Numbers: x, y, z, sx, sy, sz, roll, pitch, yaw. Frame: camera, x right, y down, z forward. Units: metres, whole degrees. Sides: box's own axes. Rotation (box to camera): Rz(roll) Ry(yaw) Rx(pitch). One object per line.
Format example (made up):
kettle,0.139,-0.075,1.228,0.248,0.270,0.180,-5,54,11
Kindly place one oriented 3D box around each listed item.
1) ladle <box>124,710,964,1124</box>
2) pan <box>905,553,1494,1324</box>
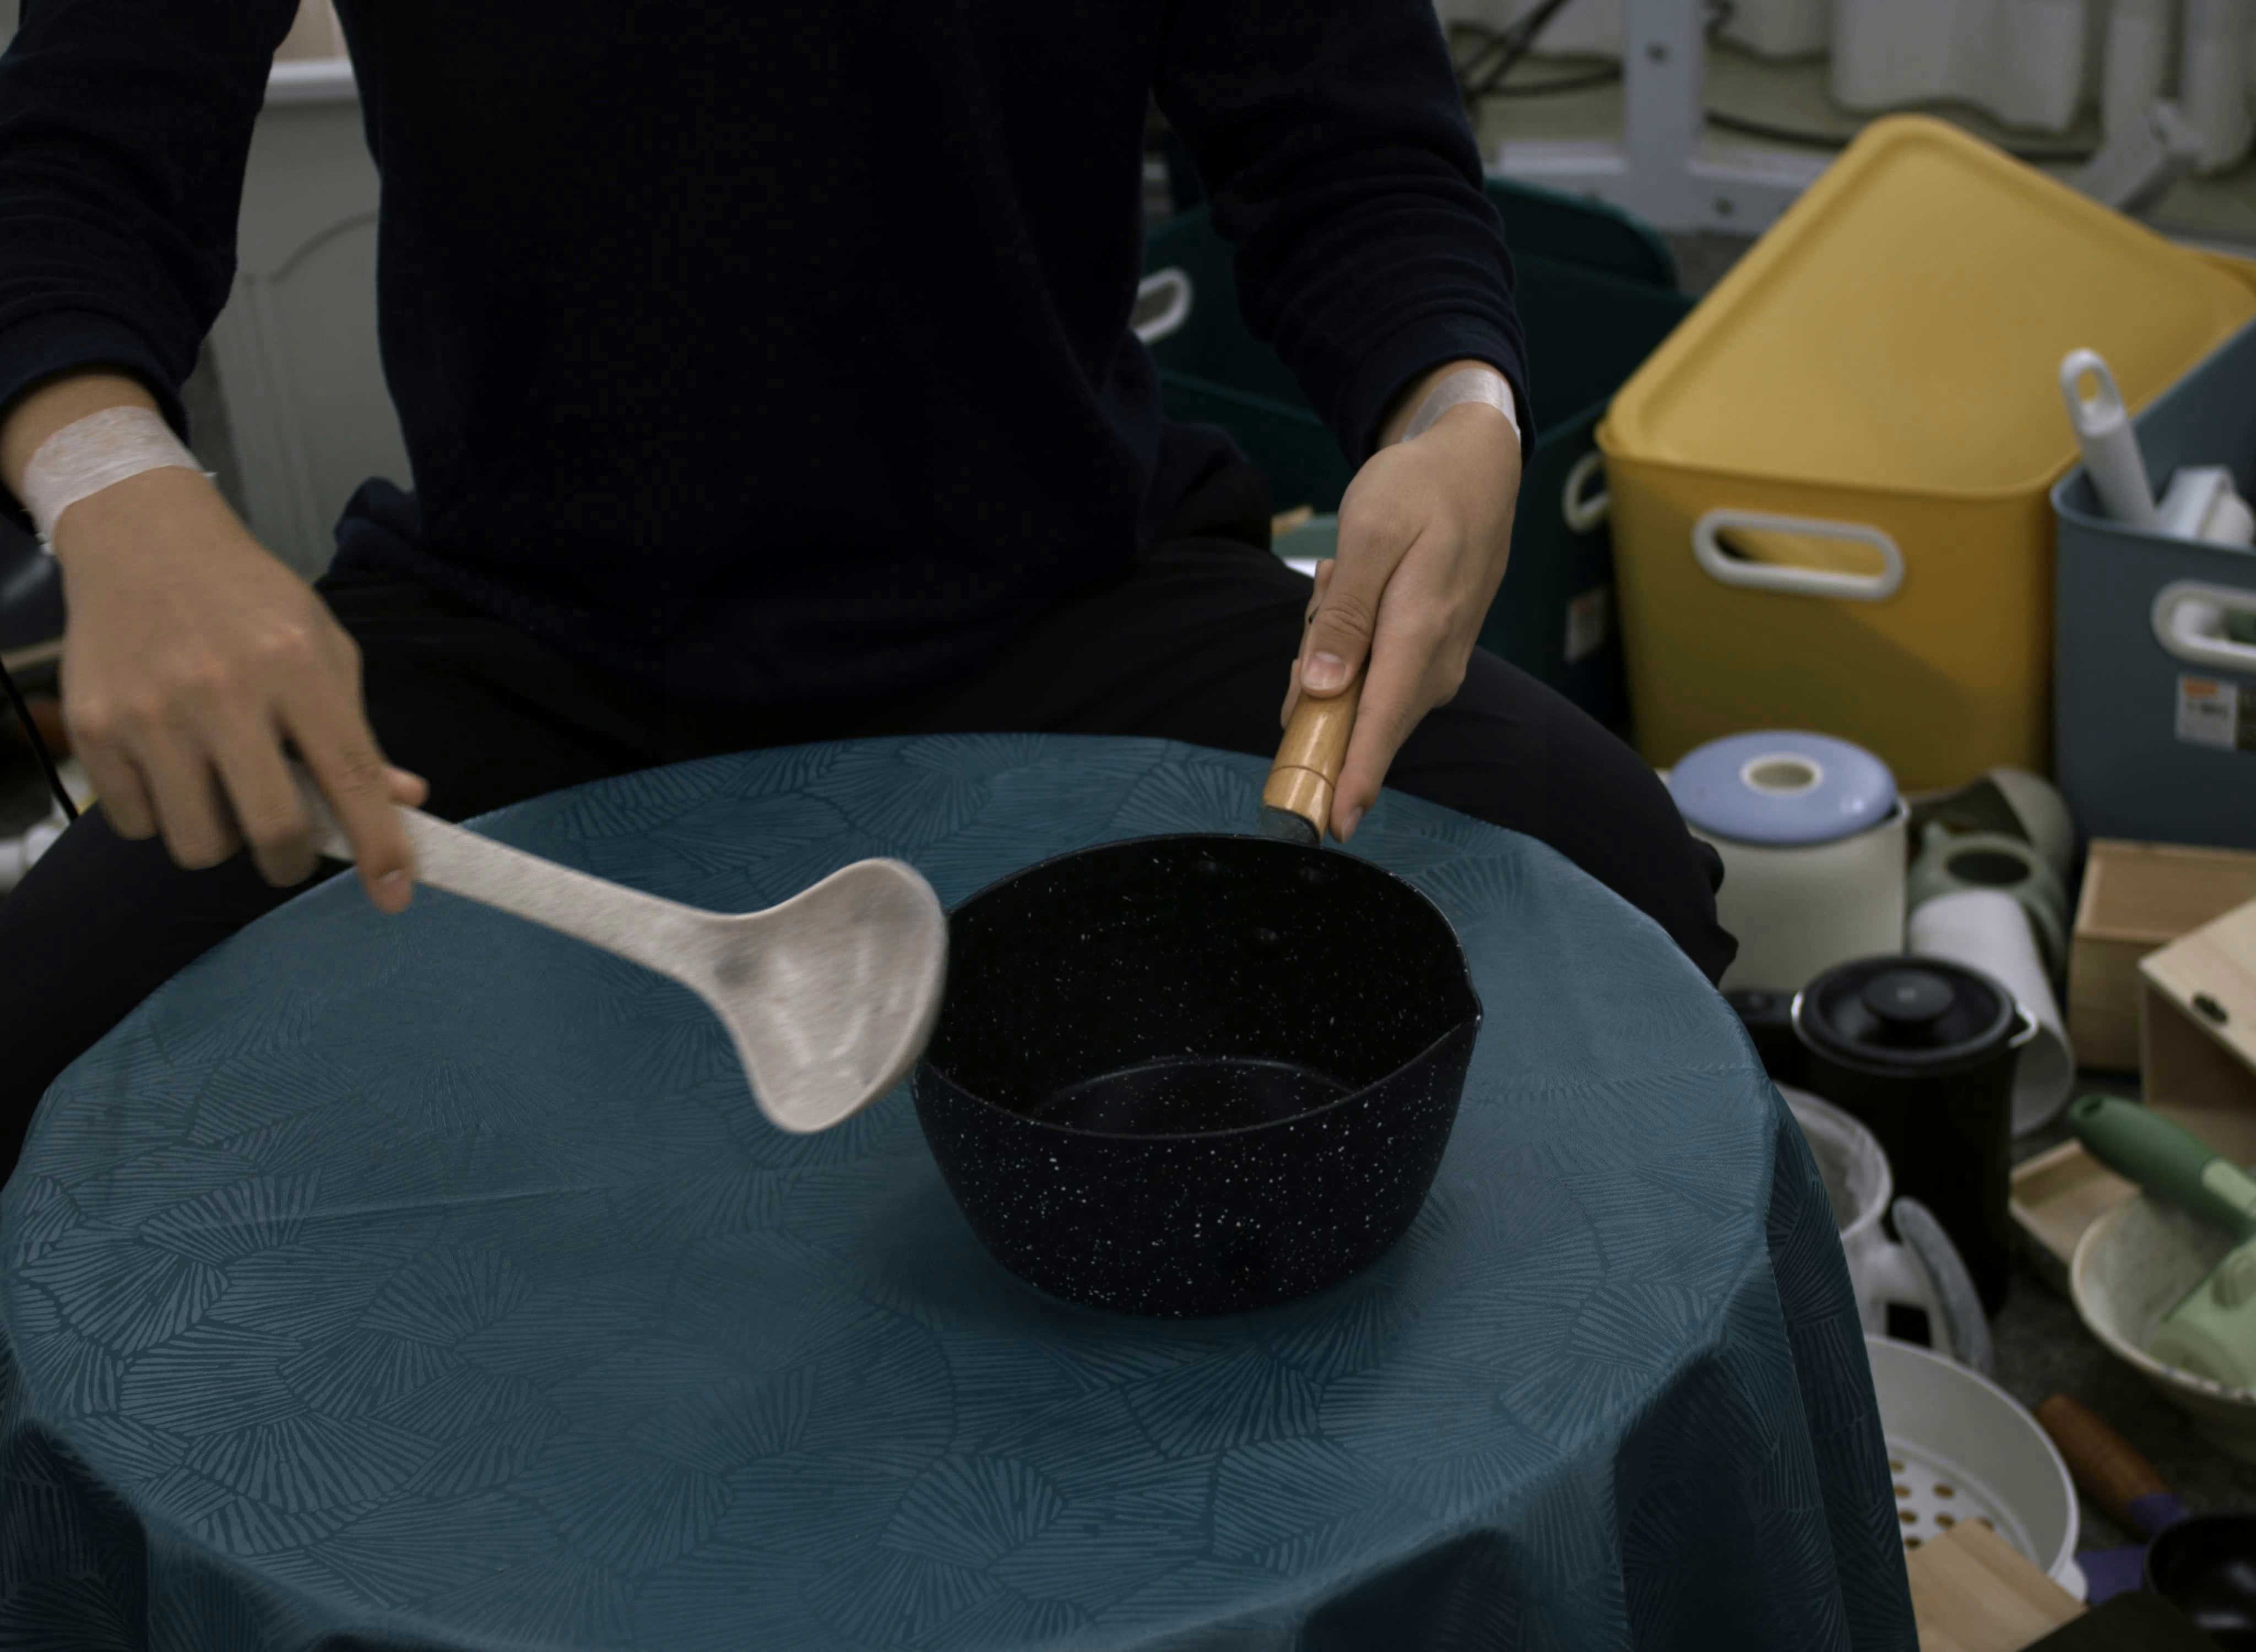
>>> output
ladle,-0.183,0.014,1.734,0.274,0.090,0.069,19,-4,-2
pan,0.041,0.035,1.896,0.206,0.107,0.349,4,32,16
